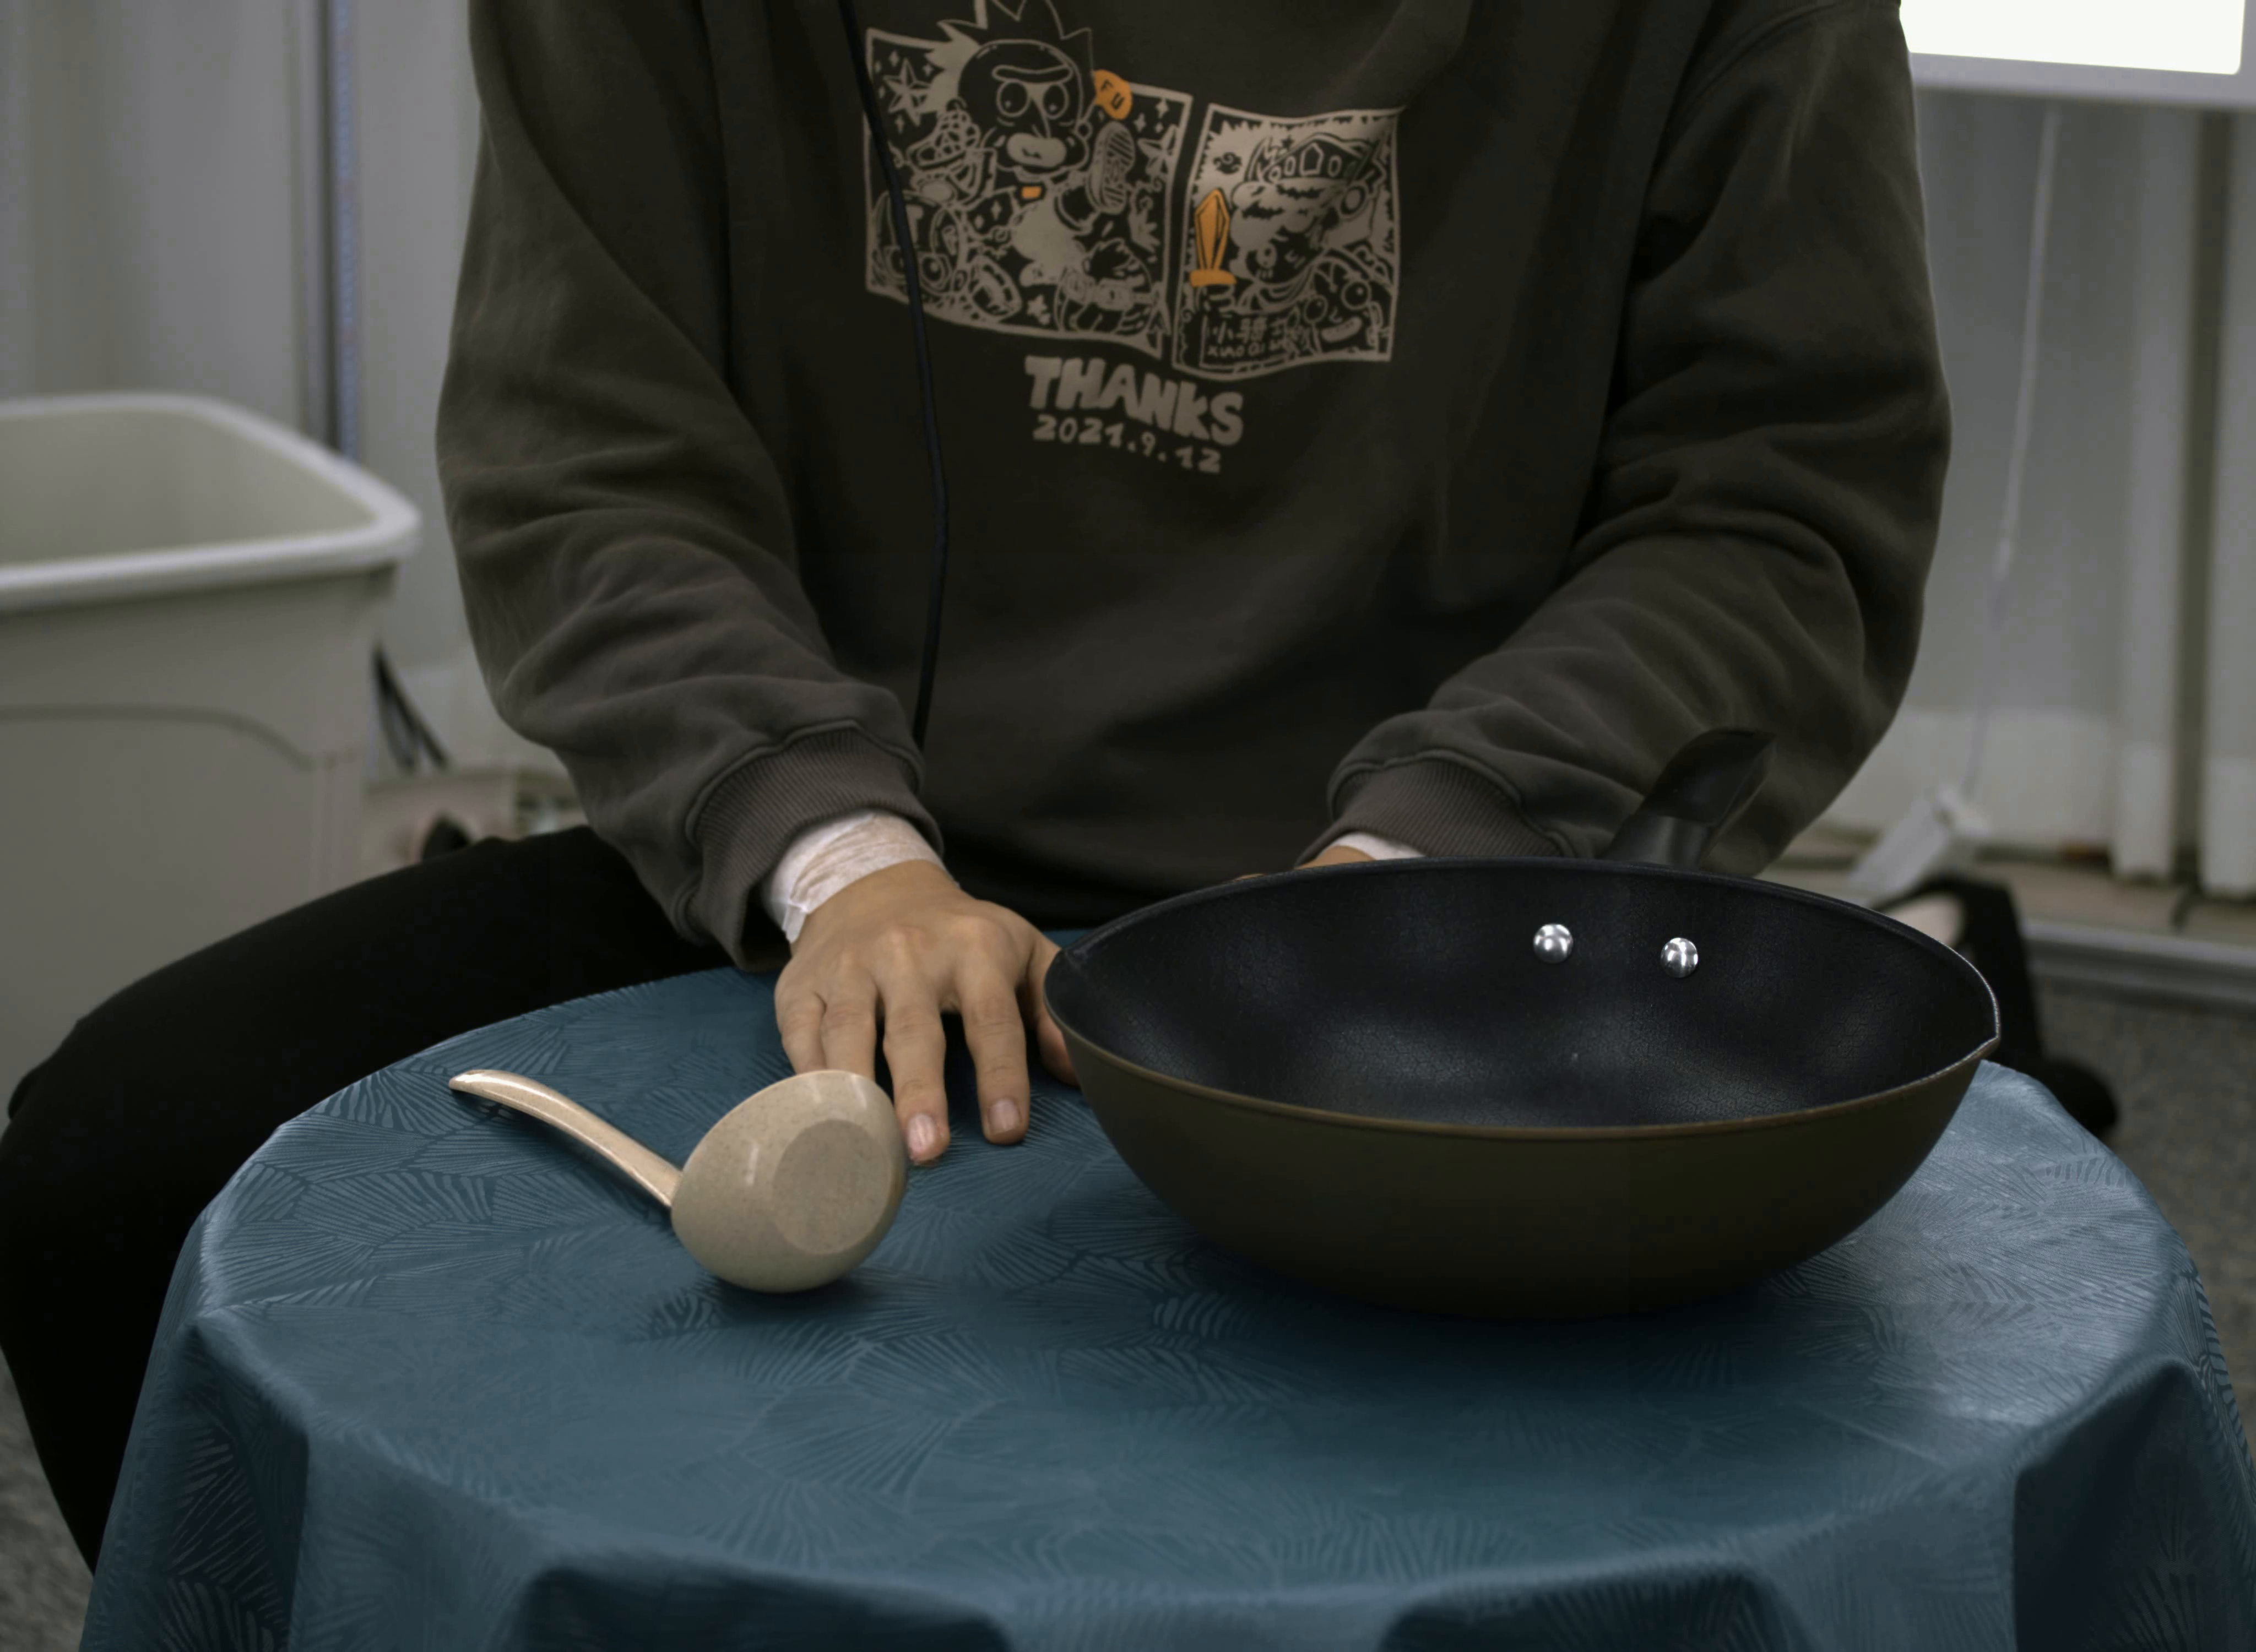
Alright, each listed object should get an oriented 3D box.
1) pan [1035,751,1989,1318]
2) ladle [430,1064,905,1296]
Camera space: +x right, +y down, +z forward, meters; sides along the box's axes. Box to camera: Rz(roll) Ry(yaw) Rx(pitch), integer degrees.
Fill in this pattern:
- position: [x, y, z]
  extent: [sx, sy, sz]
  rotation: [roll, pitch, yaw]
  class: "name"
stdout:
- position: [0.142, 0.062, 1.662]
  extent: [0.285, 0.087, 0.463]
  rotation: [5, 15, 18]
  class: "pan"
- position: [-0.154, 0.078, 1.610]
  extent: [0.072, 0.073, 0.251]
  rotation: [-12, 21, -32]
  class: "ladle"
